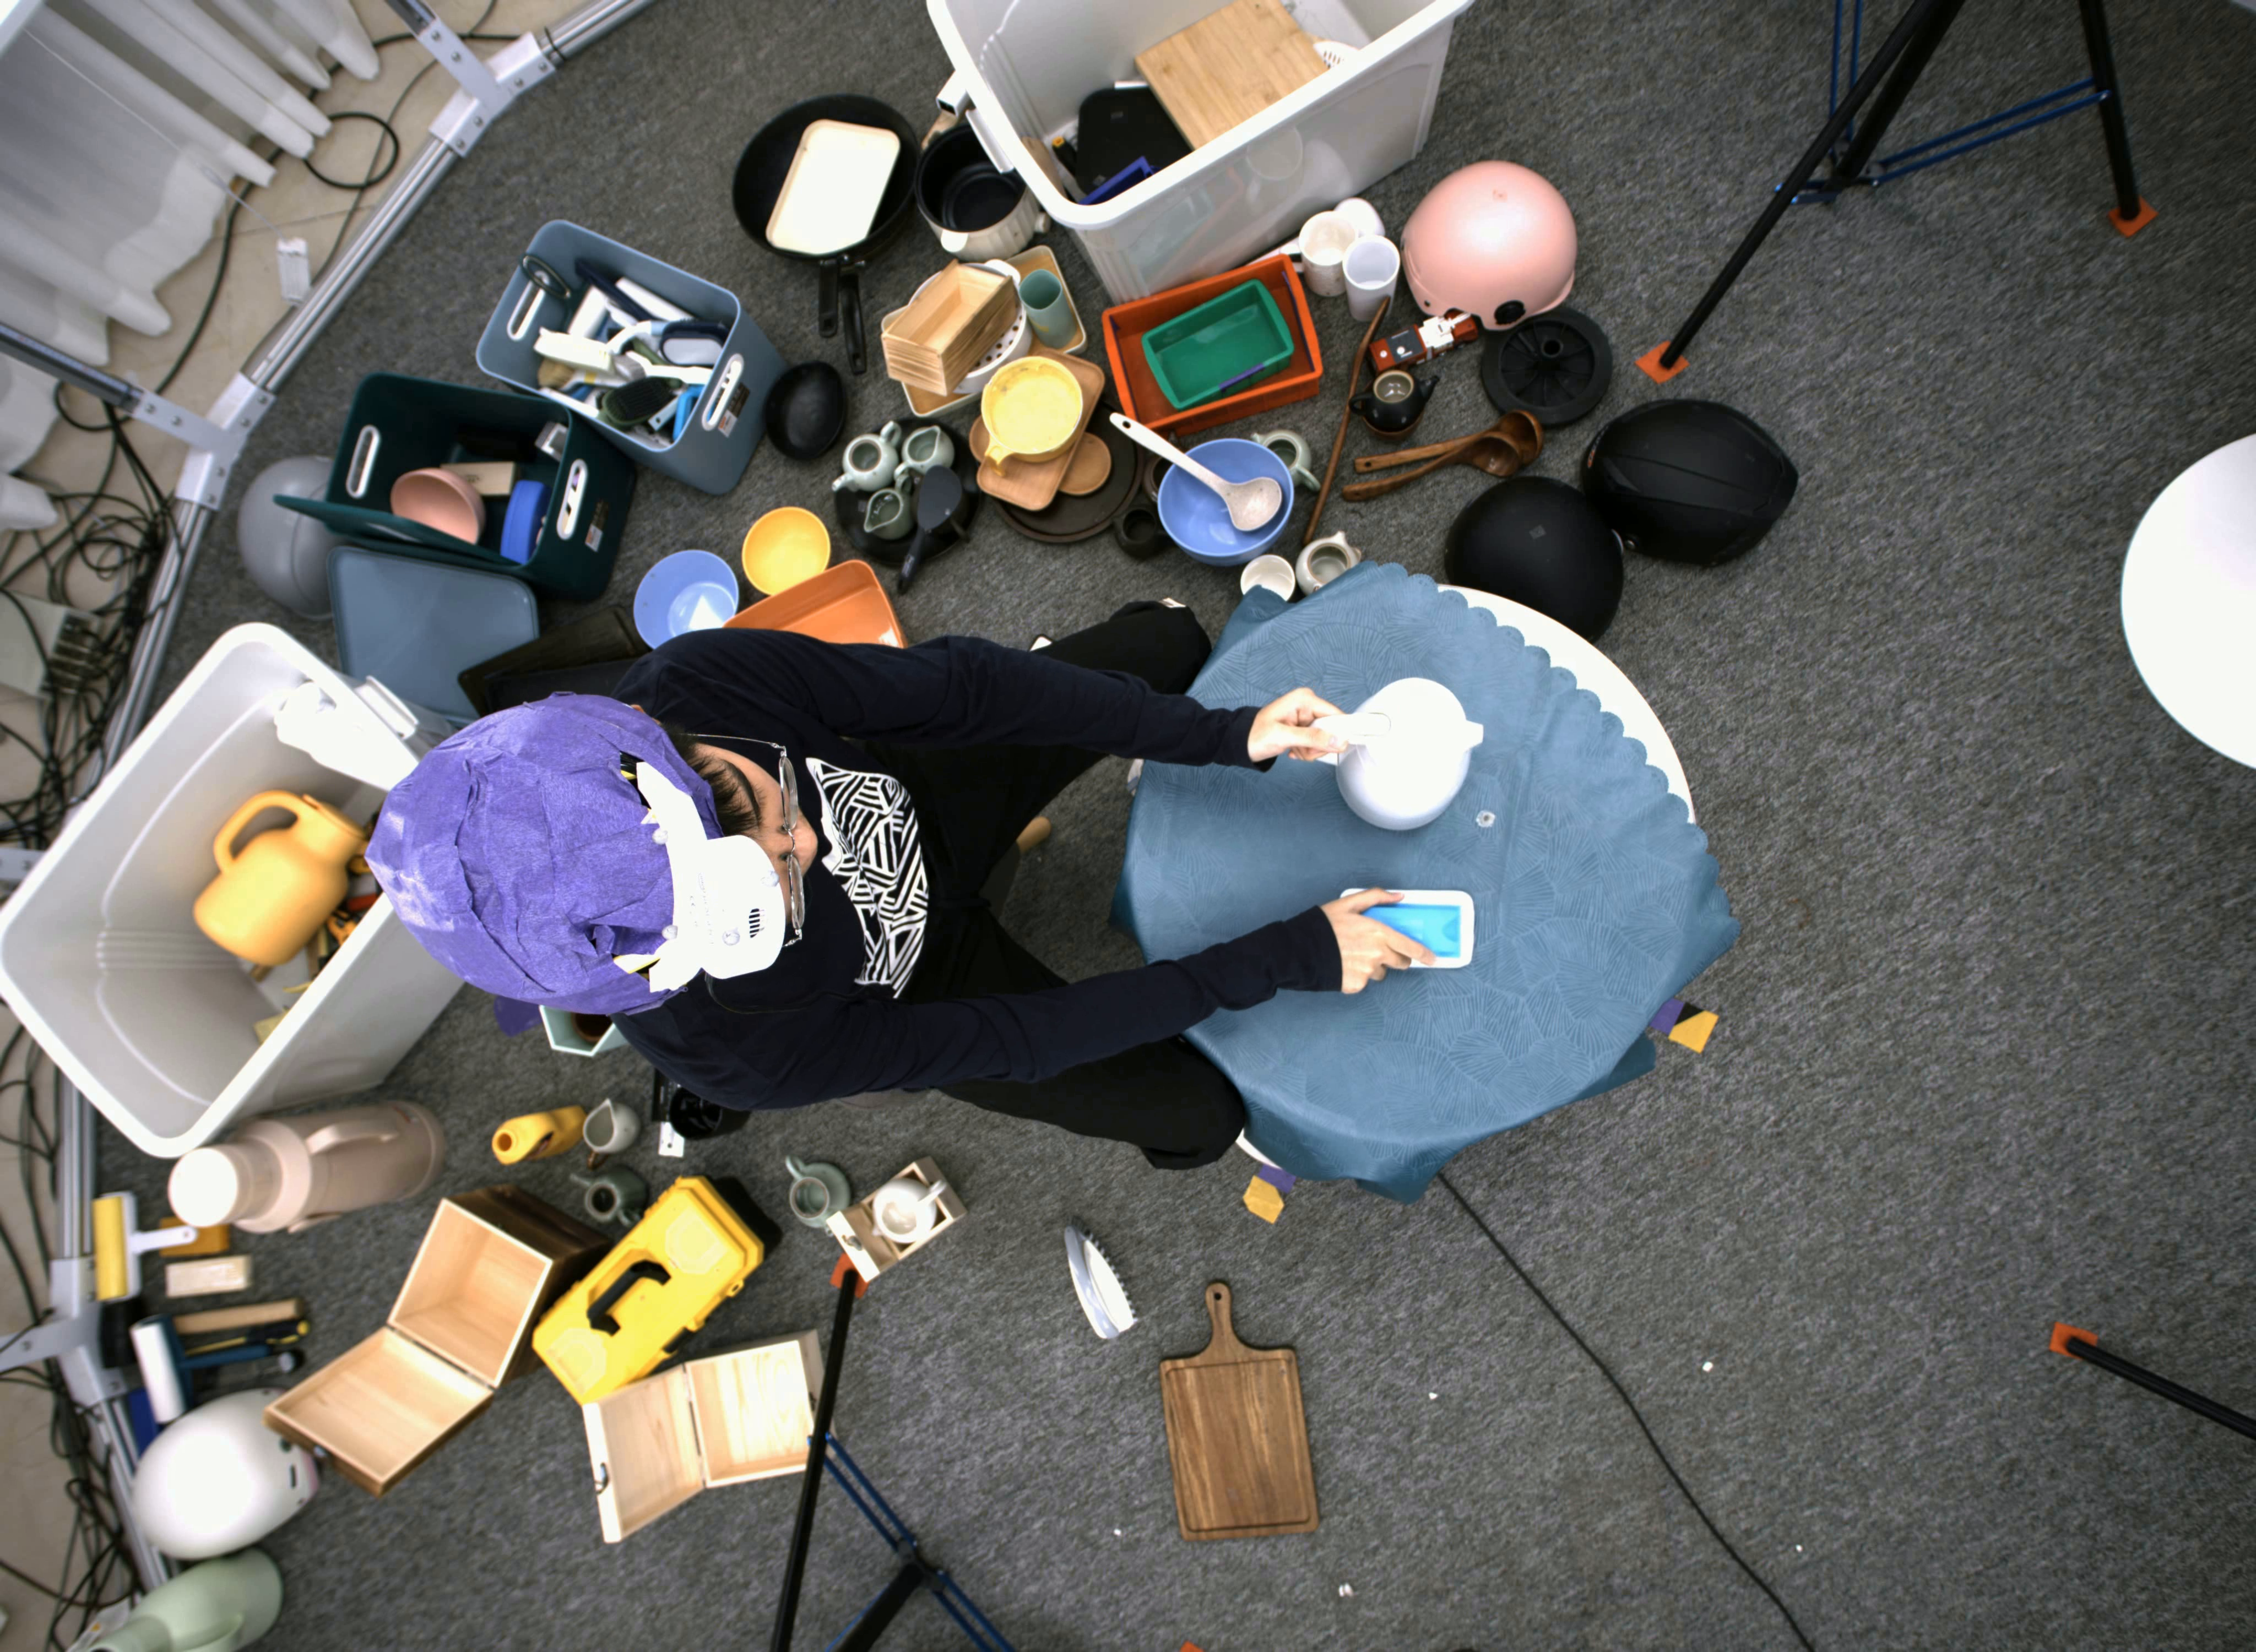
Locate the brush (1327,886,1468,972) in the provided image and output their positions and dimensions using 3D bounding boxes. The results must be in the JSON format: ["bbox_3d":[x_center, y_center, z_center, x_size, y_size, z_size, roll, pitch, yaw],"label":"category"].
[{"bbox_3d":[0.279,0.104,1.425,0.144,0.056,0.083,4,83,9],"label":"brush"}]

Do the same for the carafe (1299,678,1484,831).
[{"bbox_3d":[0.252,-0.075,1.340,0.168,0.249,0.132,2,85,9],"label":"carafe"}]
